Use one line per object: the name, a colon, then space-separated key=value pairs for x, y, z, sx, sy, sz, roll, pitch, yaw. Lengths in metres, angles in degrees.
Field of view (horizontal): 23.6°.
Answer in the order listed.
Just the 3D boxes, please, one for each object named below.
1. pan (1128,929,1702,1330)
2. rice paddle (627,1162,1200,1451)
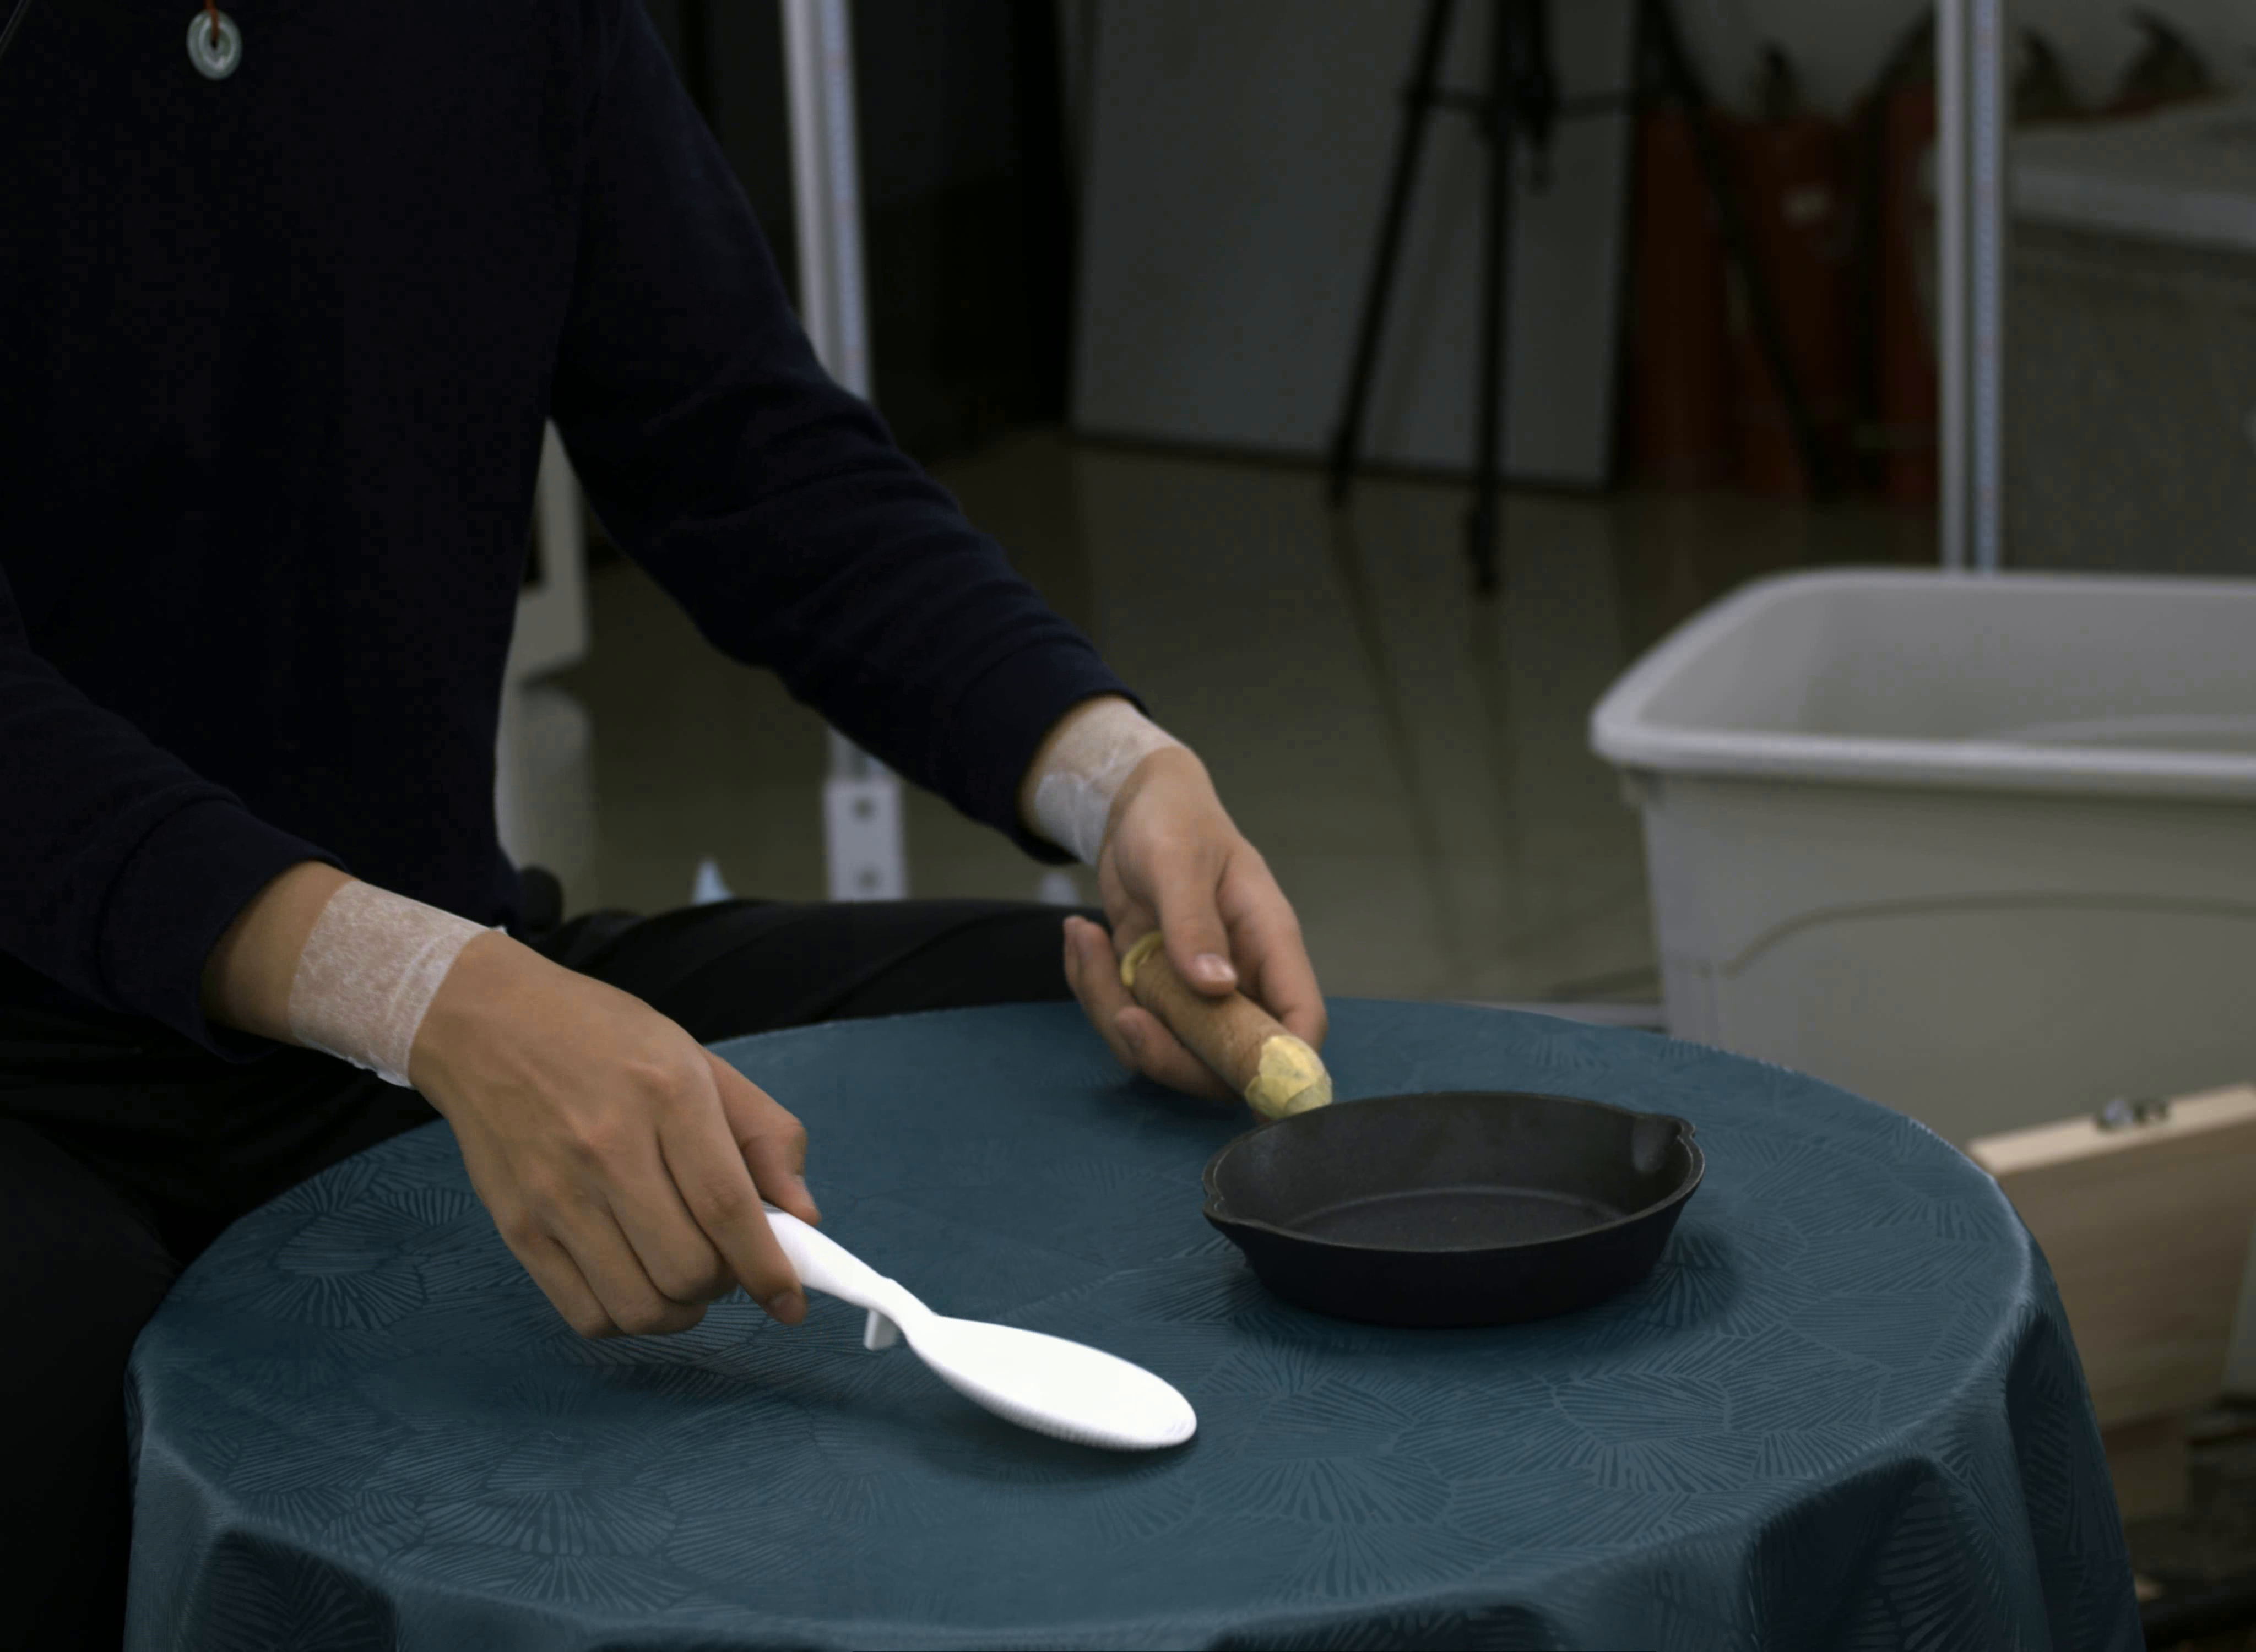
pan: x=0.070 y=0.095 z=1.751 sx=0.165 sy=0.050 sz=0.327 roll=-9 pitch=16 yaw=-19
rice paddle: x=-0.063 y=0.144 z=1.587 sx=0.207 sy=0.030 sz=0.067 roll=19 pitch=21 yaw=36
